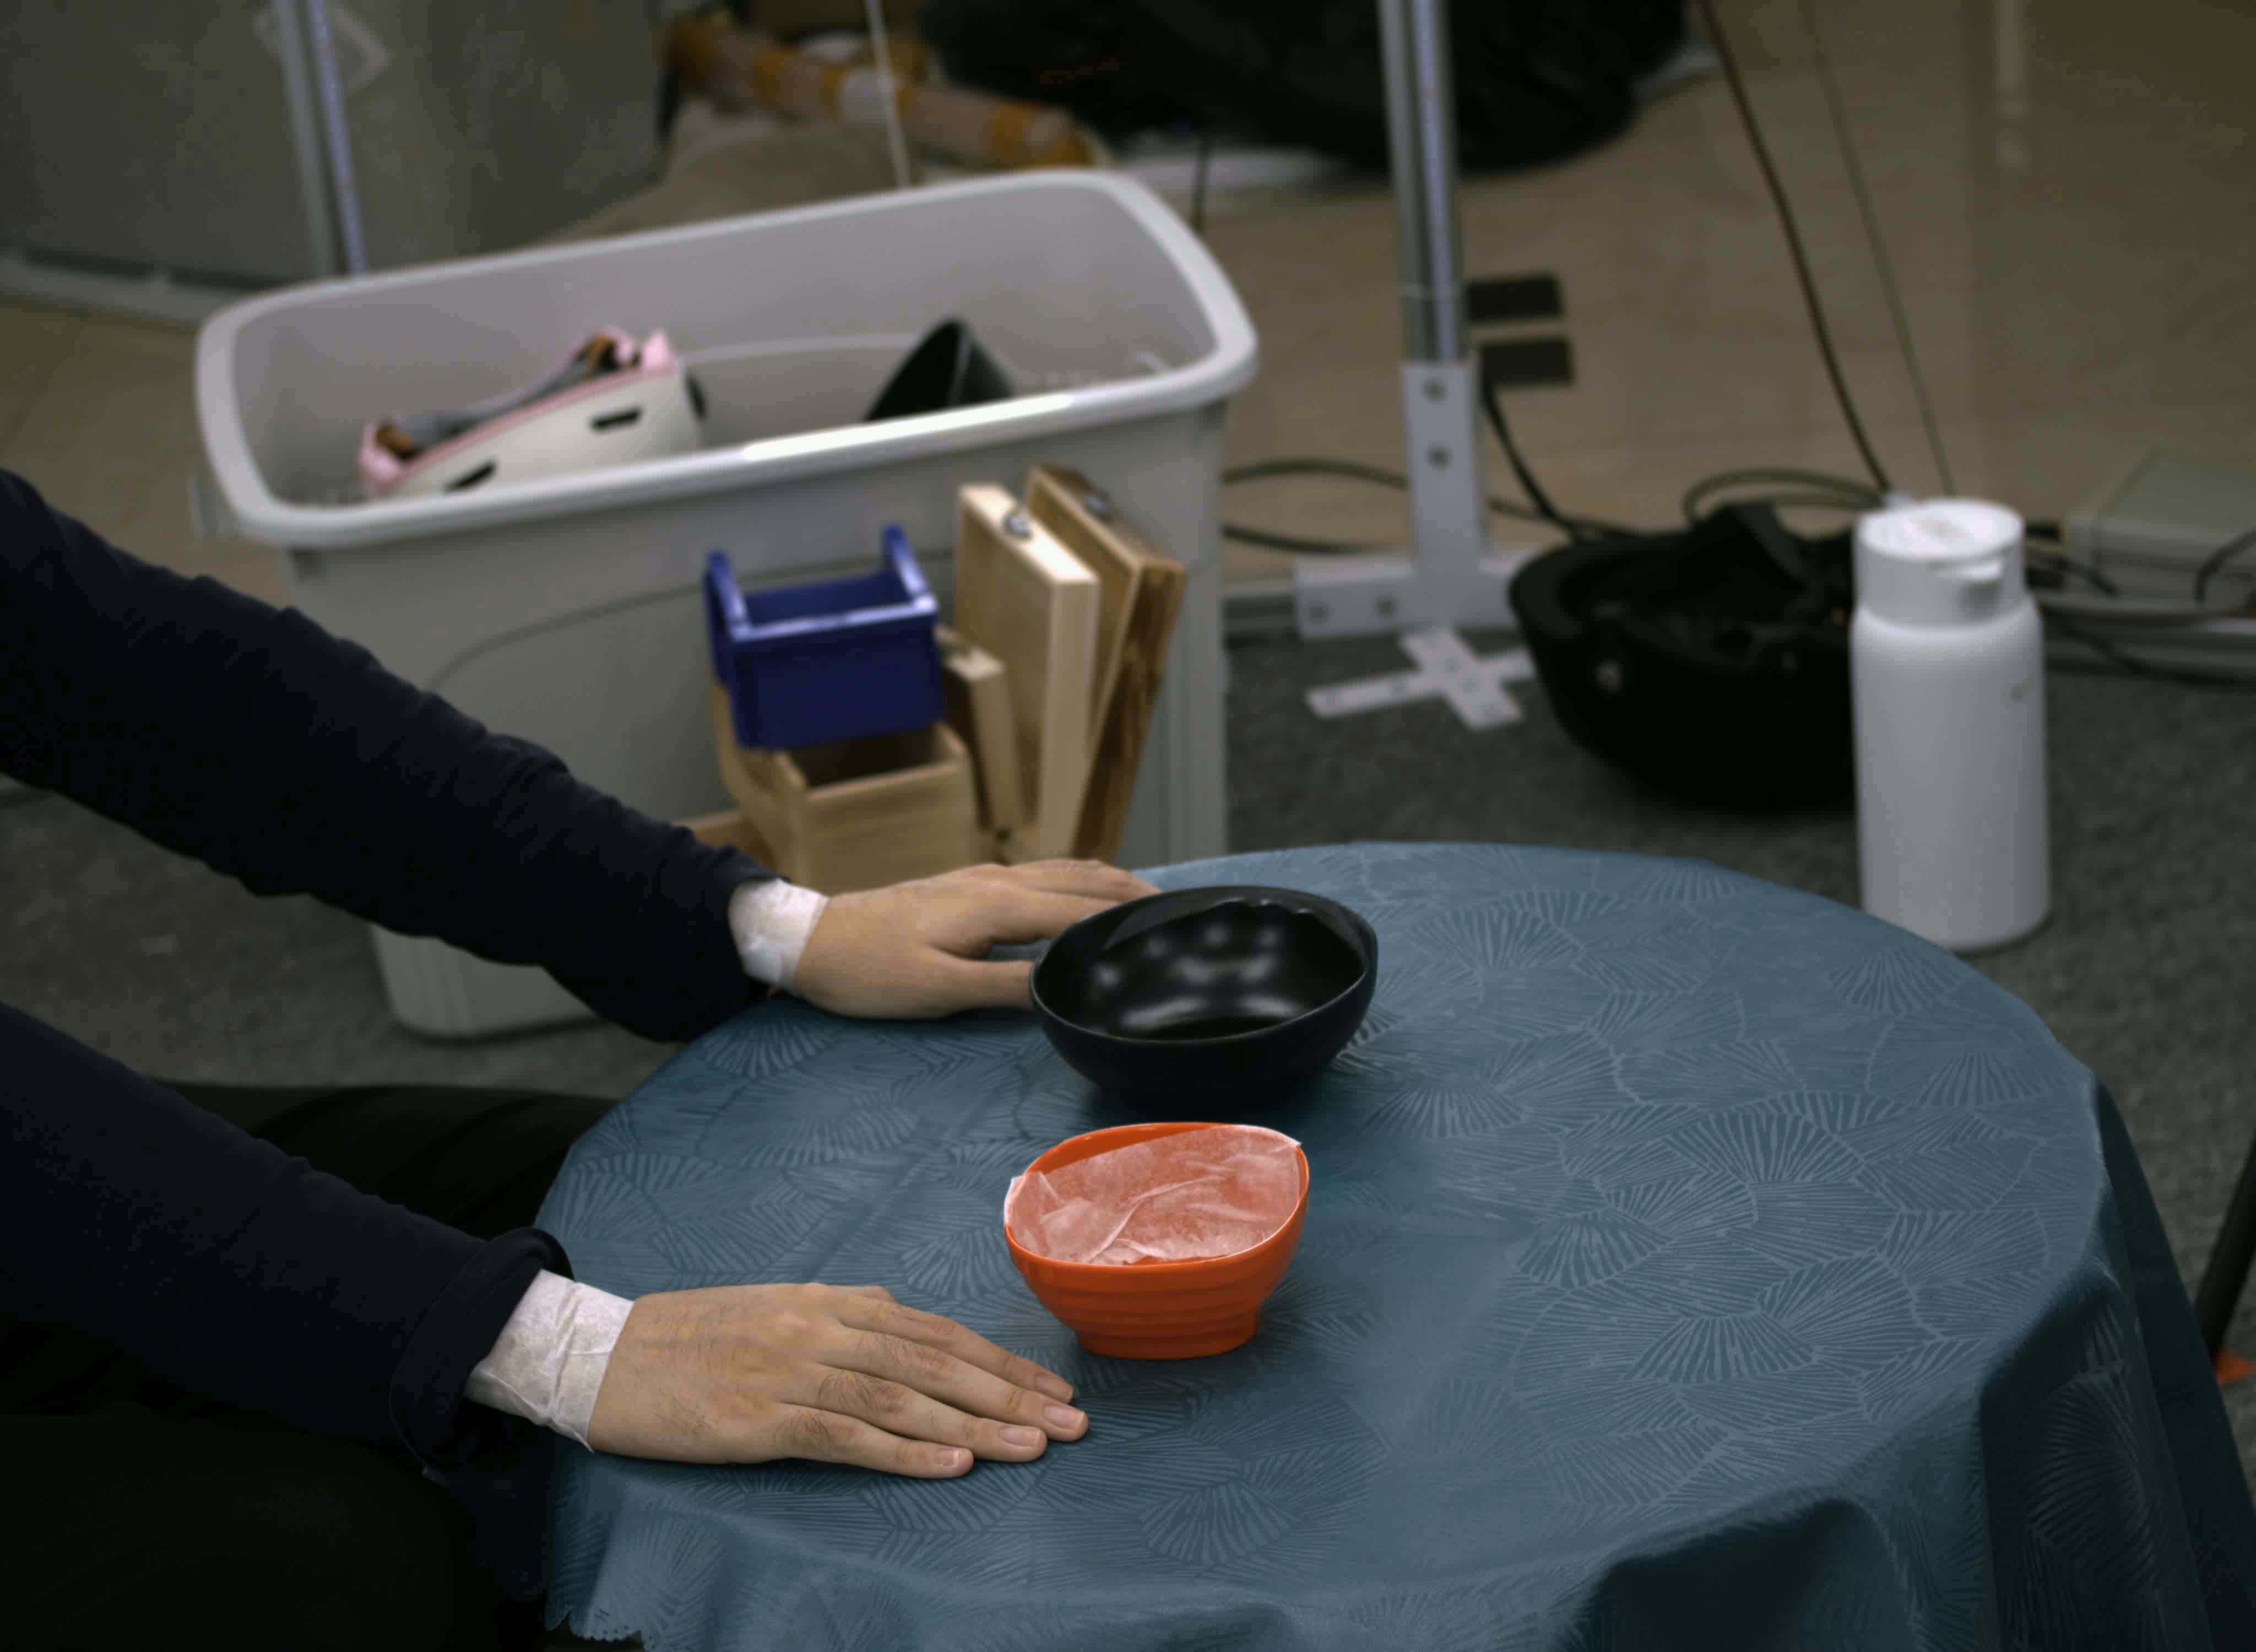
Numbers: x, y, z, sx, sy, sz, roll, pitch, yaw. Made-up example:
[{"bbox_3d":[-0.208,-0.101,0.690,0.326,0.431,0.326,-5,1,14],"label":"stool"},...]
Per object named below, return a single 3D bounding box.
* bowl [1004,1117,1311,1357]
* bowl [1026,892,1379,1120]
[{"bbox_3d":[0.012,0.153,2.054,0.119,0.052,0.117,-4,26,2],"label":"bowl"},{"bbox_3d":[0.032,0.077,2.225,0.140,0.050,0.138,-9,24,4],"label":"bowl"}]
